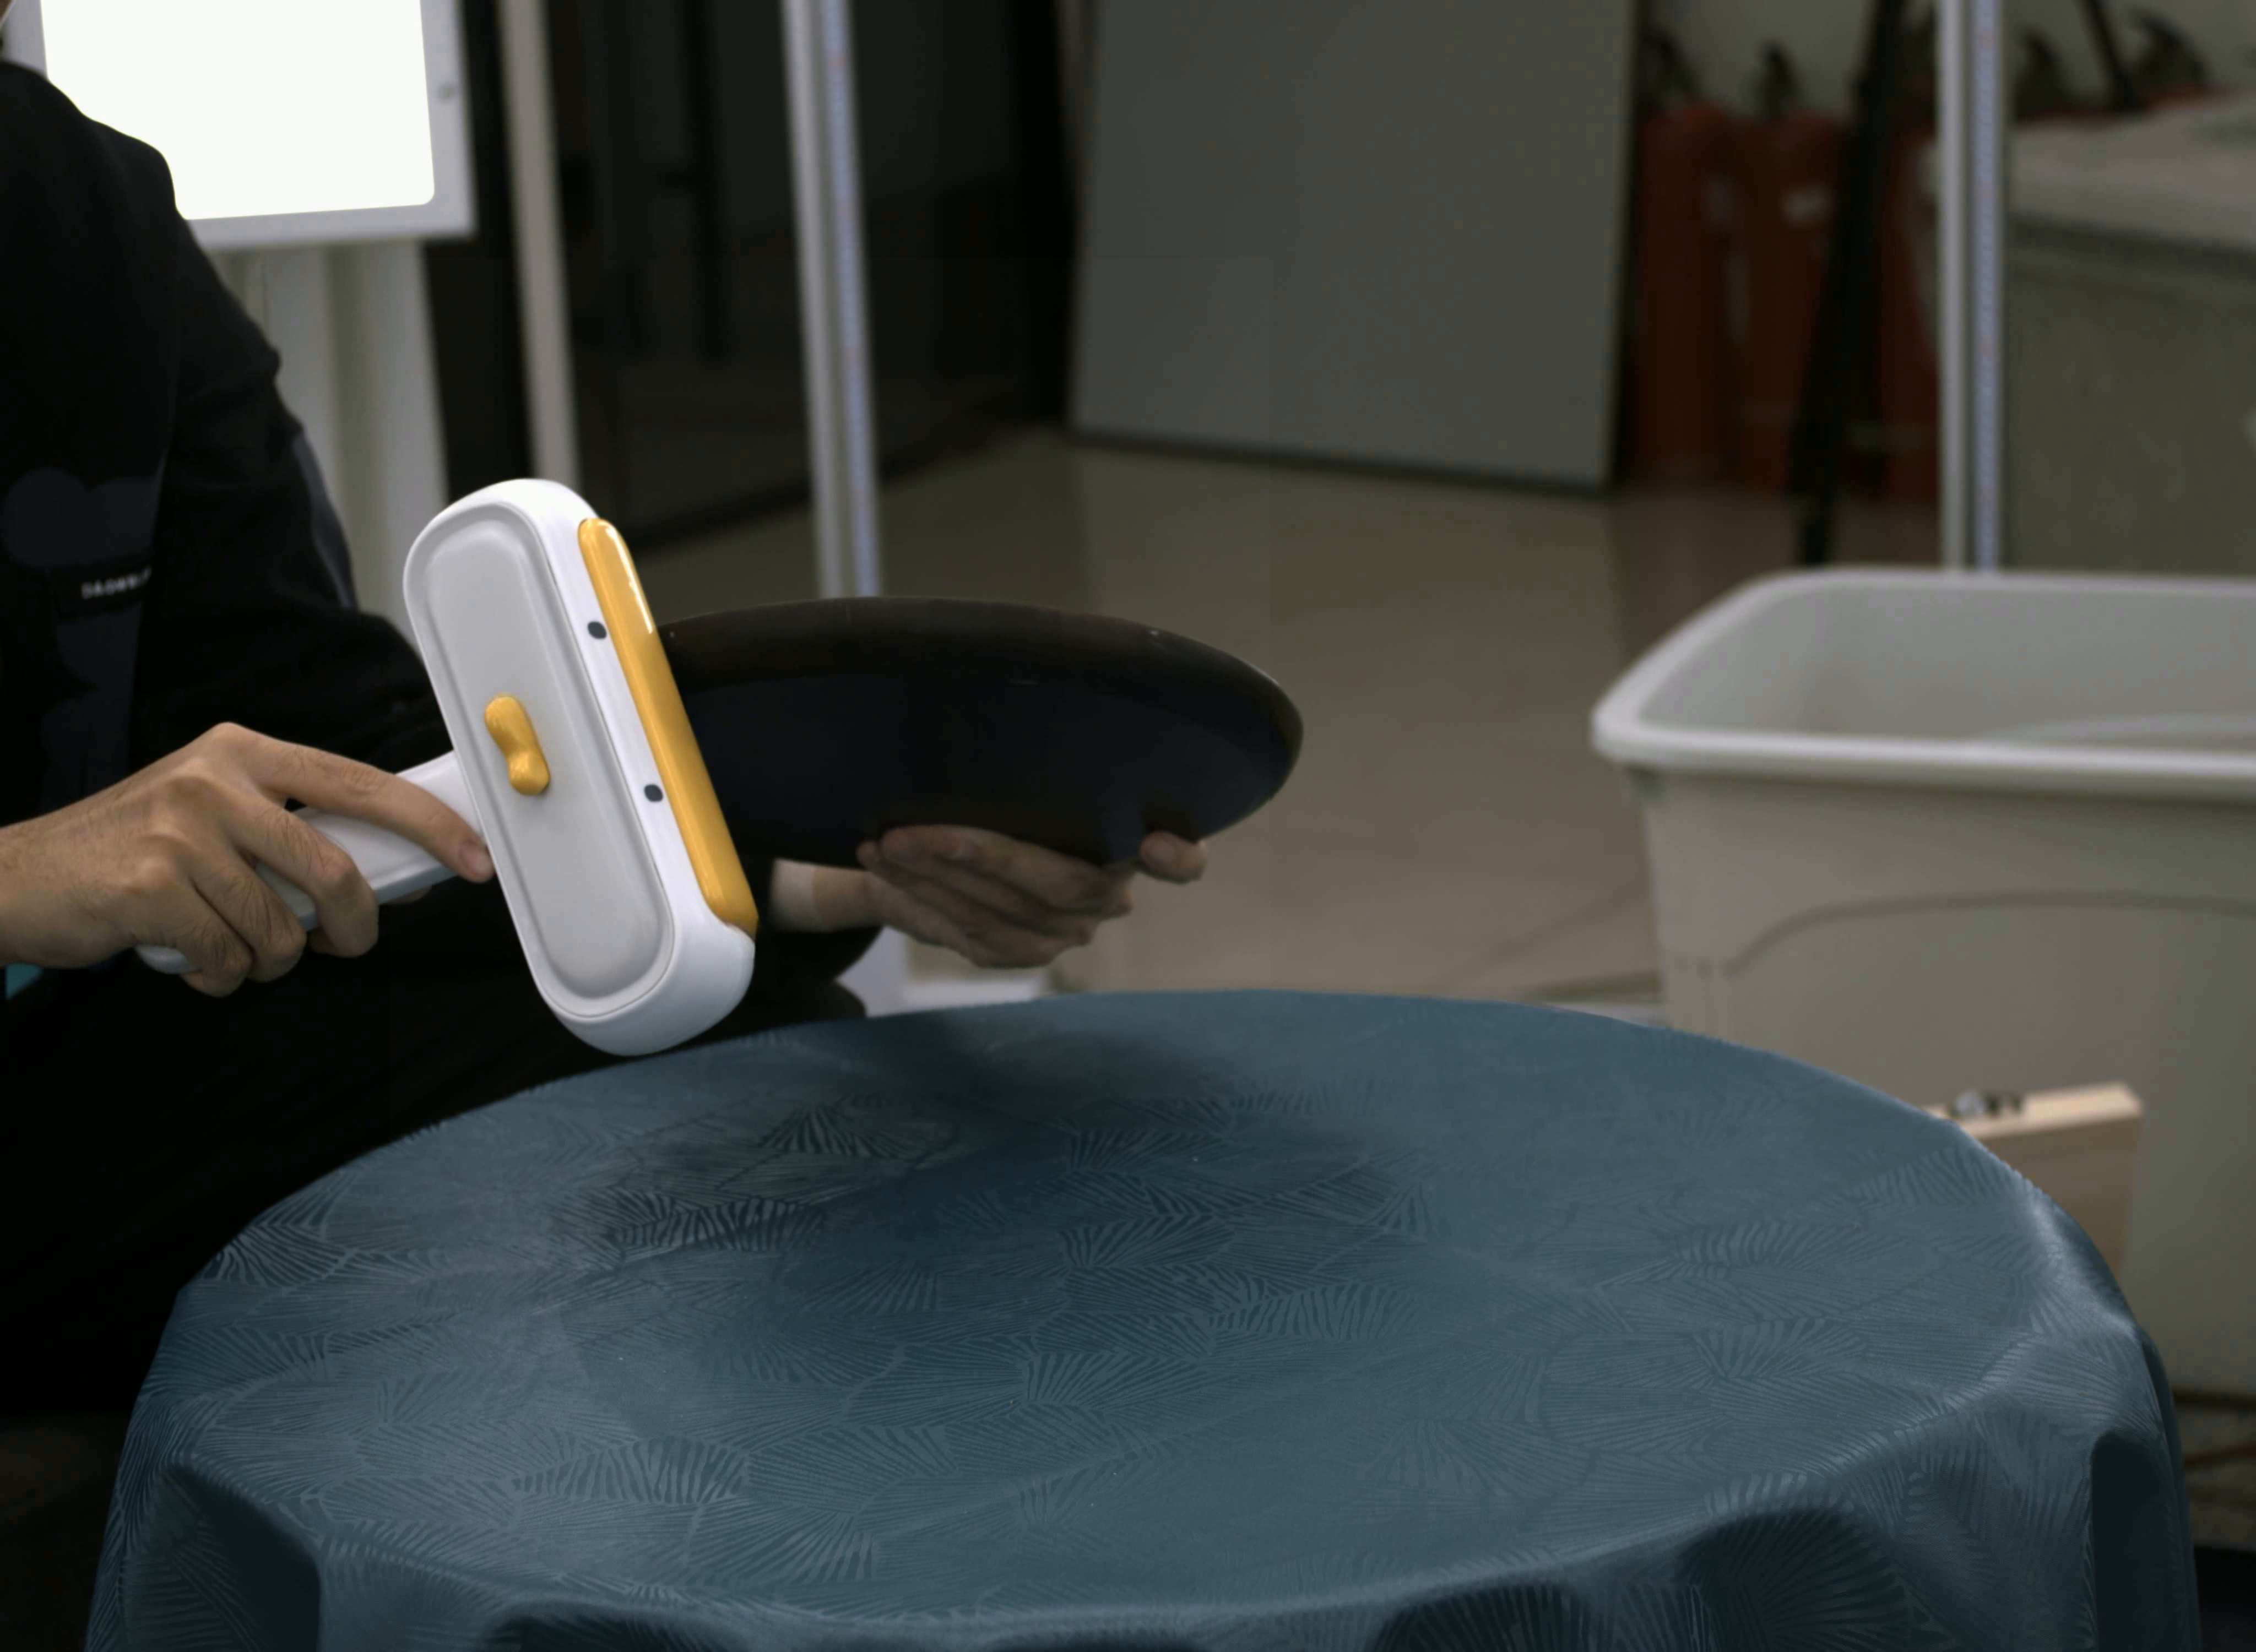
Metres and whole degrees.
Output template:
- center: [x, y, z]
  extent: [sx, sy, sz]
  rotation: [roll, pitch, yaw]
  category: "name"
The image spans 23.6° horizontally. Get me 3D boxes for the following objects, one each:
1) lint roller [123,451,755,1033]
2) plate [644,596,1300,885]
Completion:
- center: [-0.230, -0.001, 1.734]
  extent: [0.192, 0.195, 0.073]
  rotation: [-28, -13, 13]
  category: "lint roller"
- center: [-0.067, -0.026, 1.820]
  extent: [0.251, 0.029, 0.255]
  rotation: [0, -19, -1]
  category: "plate"
